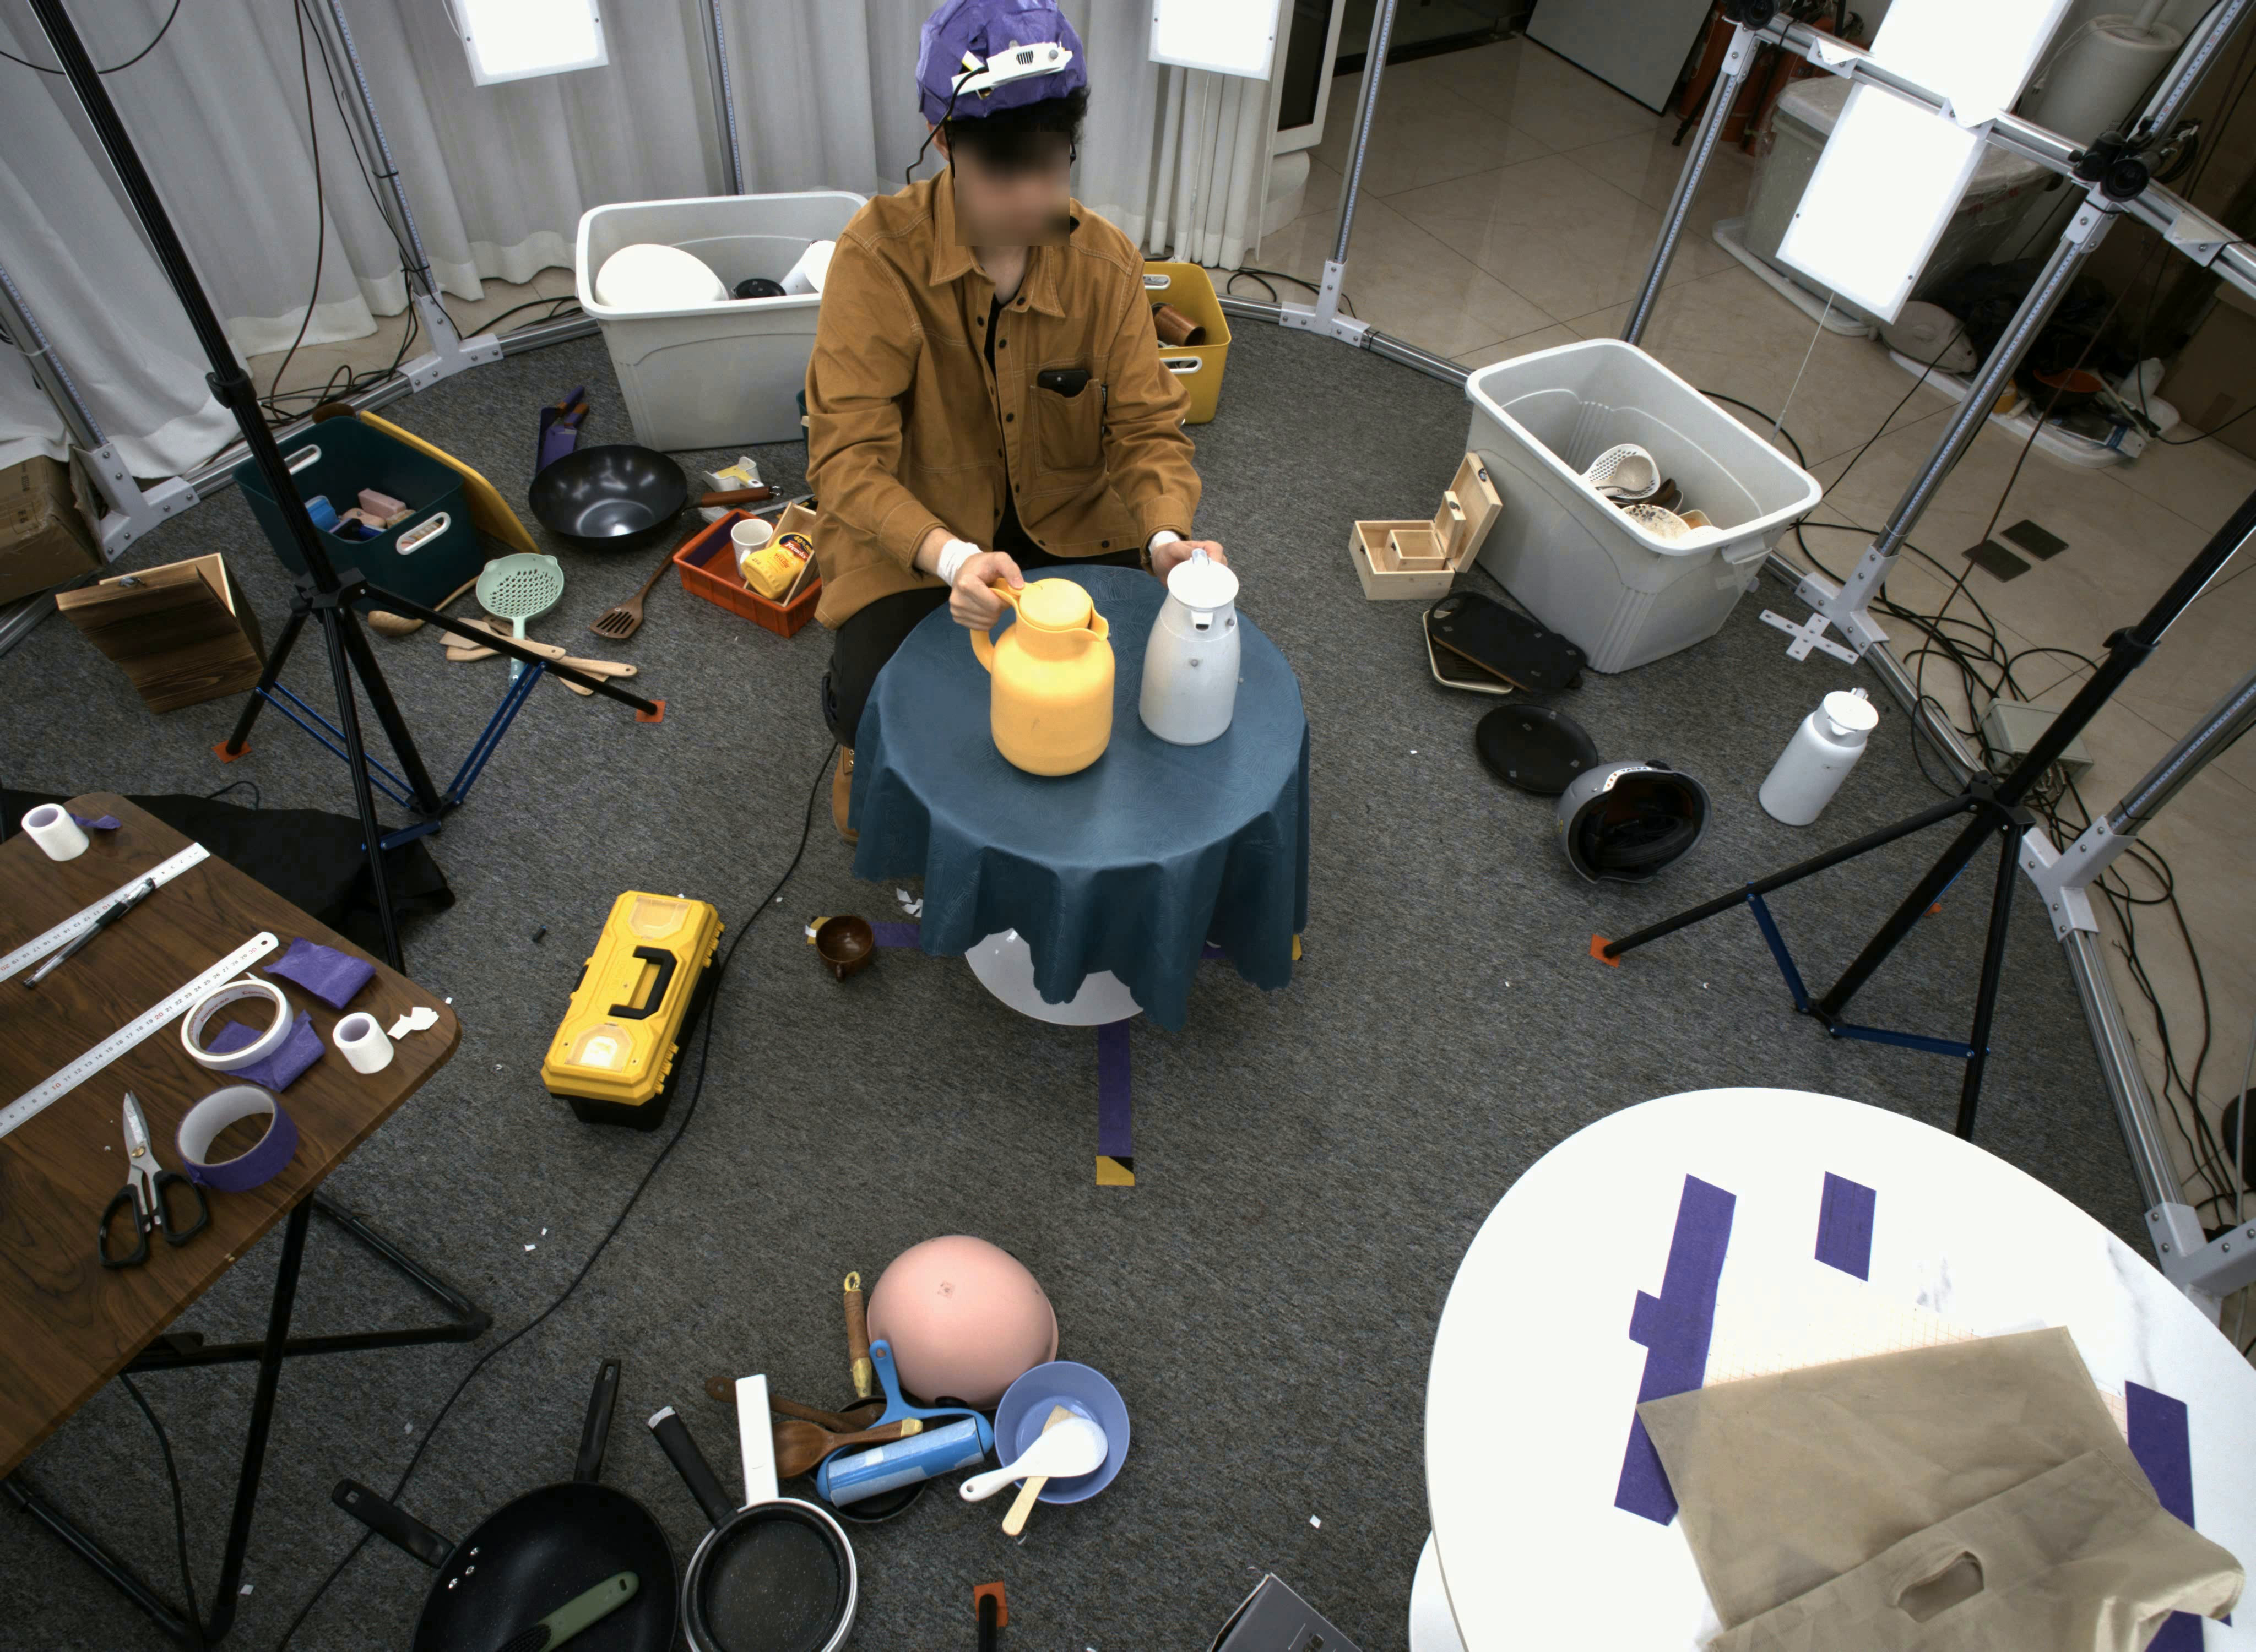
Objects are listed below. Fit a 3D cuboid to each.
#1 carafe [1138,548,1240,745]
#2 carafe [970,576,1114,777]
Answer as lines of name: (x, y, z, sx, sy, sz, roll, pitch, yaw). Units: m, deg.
carafe: (0.086, -0.254, 1.731, 0.132, 0.242, 0.172, 2, 50, -2)
carafe: (-0.115, -0.206, 1.674, 0.204, 0.254, 0.166, 29, 51, 18)
